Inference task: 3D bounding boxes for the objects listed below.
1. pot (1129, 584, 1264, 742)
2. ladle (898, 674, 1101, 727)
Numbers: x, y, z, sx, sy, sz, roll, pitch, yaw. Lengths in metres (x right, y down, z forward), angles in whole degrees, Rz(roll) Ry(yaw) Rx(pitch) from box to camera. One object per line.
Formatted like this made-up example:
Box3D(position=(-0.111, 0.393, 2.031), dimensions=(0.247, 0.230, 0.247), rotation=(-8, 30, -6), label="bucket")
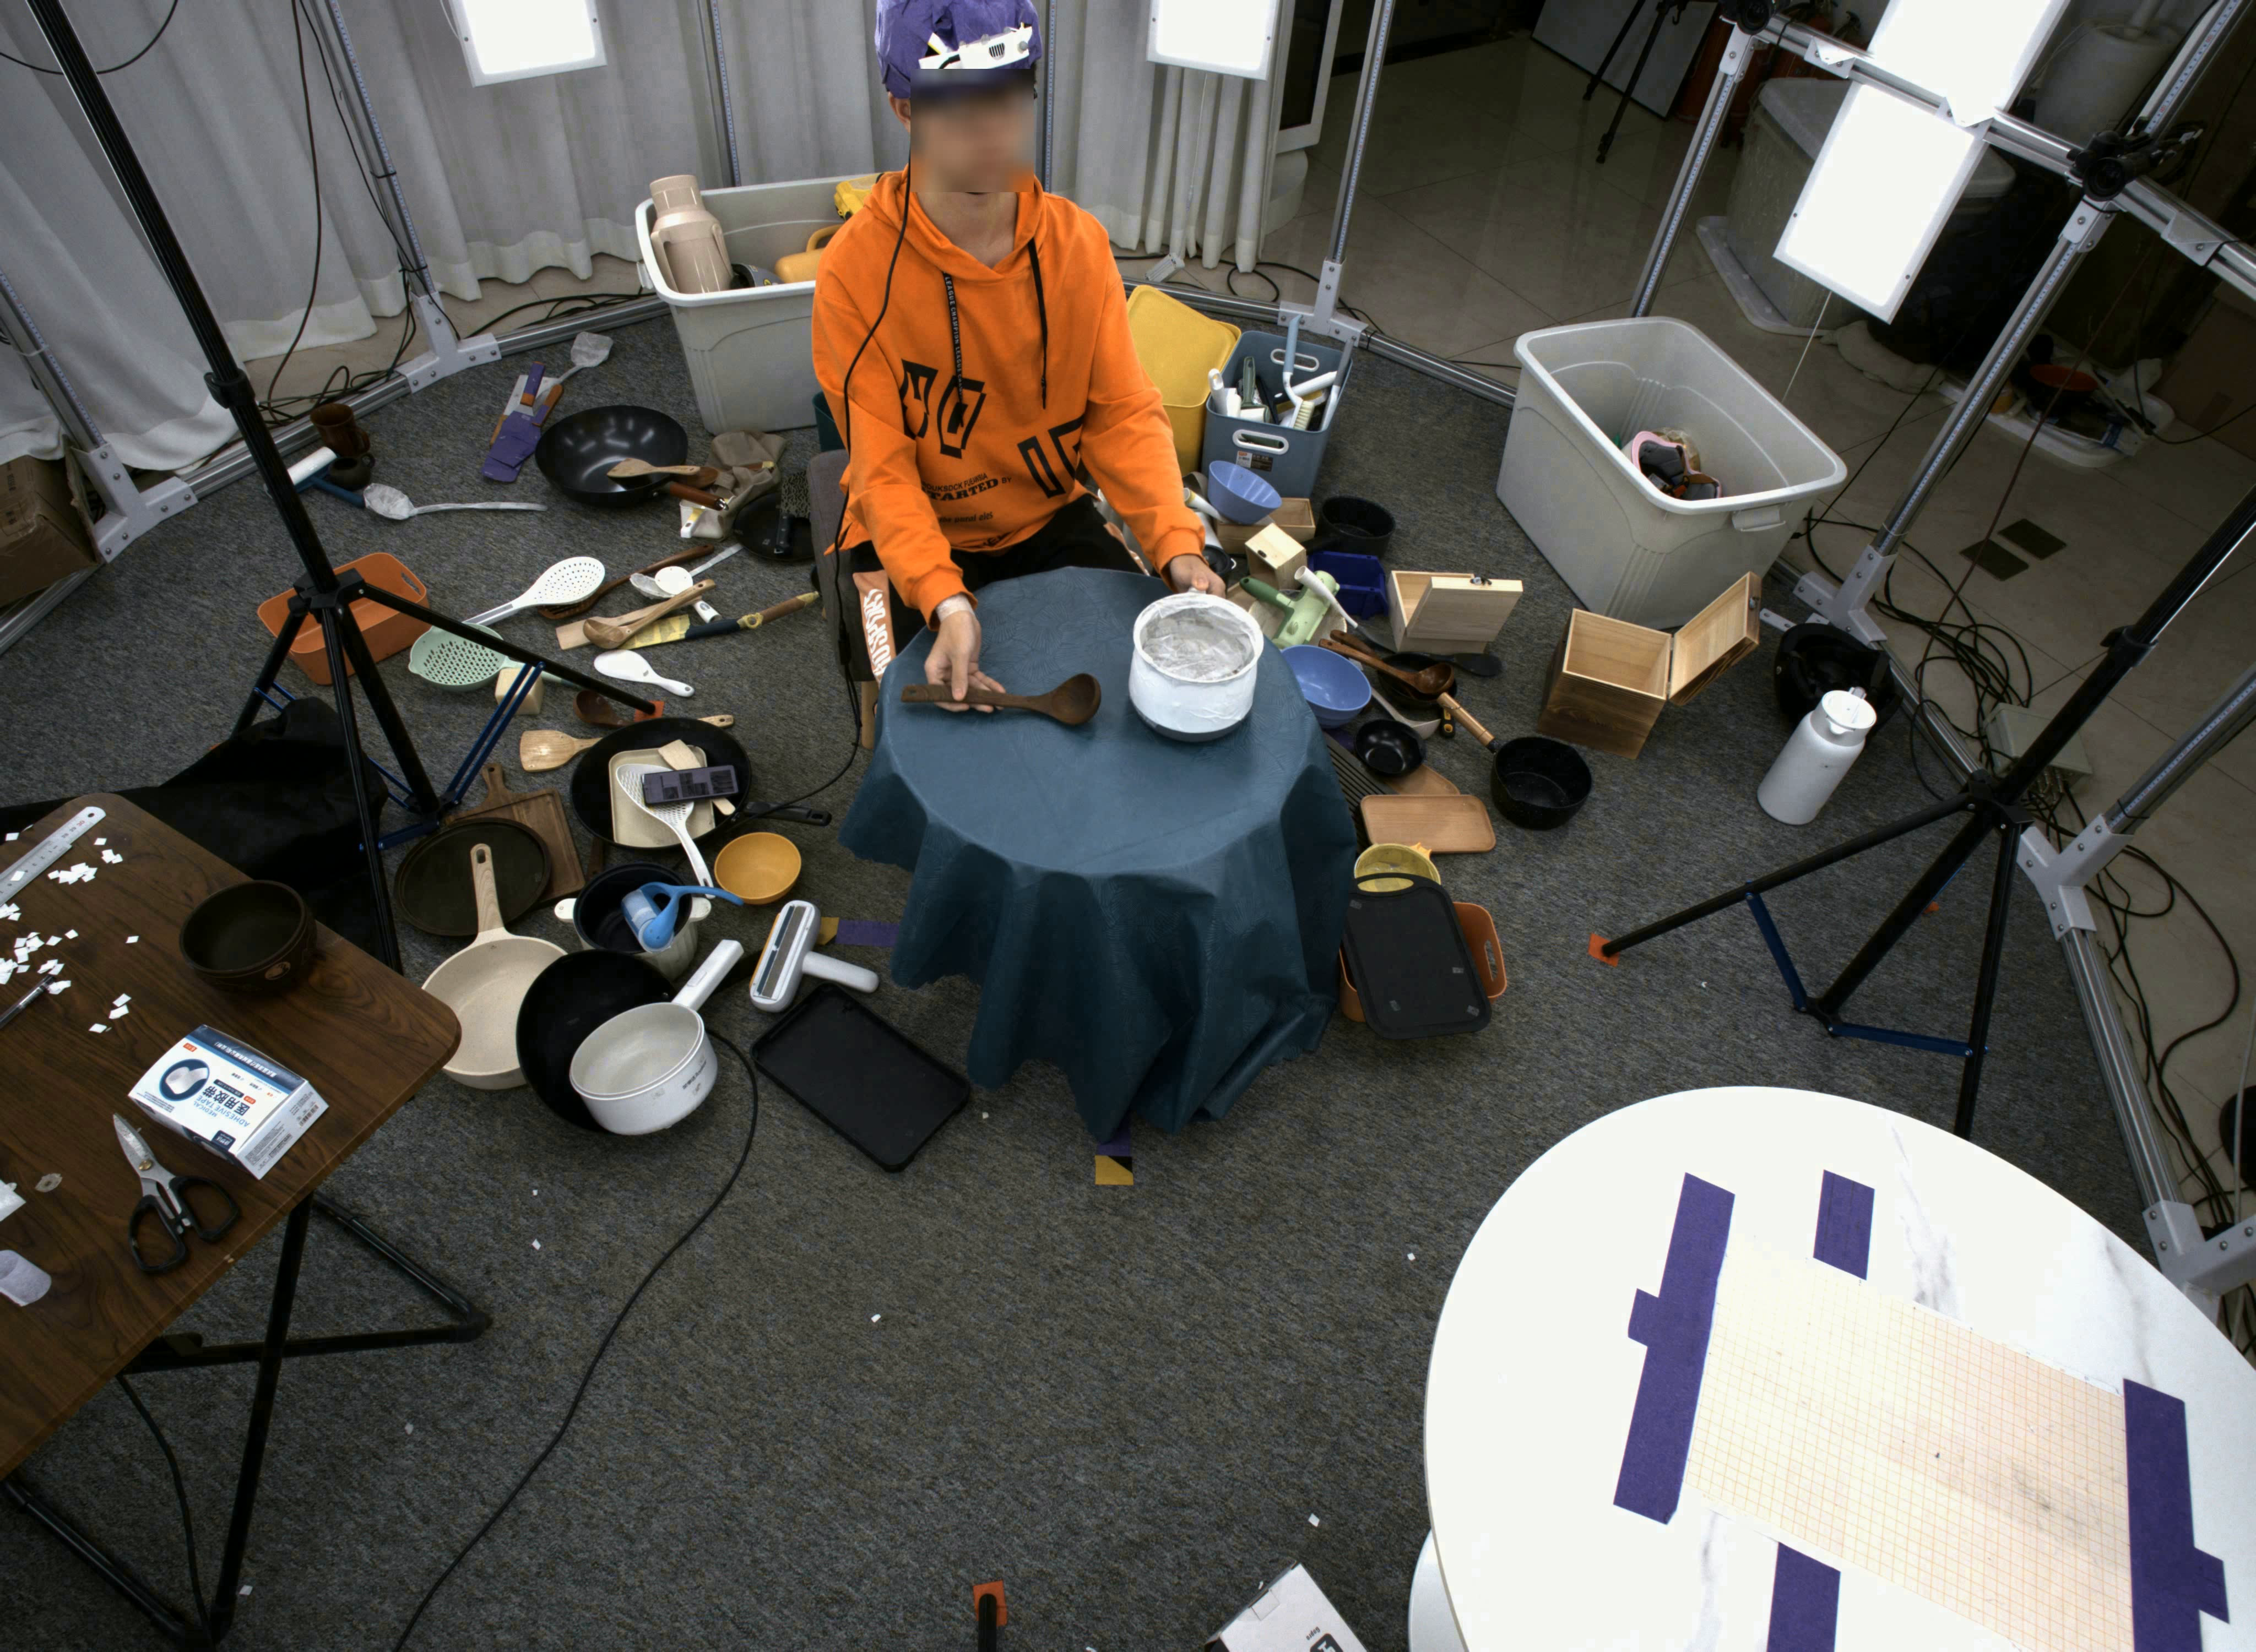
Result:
Box3D(position=(0.091, -0.237, 1.792), dimensions=(0.178, 0.133, 0.239), rotation=(3, 49, -2), label="pot")
Box3D(position=(-0.175, -0.183, 1.761), dimensions=(0.273, 0.070, 0.077), rotation=(5, 65, -7), label="ladle")
